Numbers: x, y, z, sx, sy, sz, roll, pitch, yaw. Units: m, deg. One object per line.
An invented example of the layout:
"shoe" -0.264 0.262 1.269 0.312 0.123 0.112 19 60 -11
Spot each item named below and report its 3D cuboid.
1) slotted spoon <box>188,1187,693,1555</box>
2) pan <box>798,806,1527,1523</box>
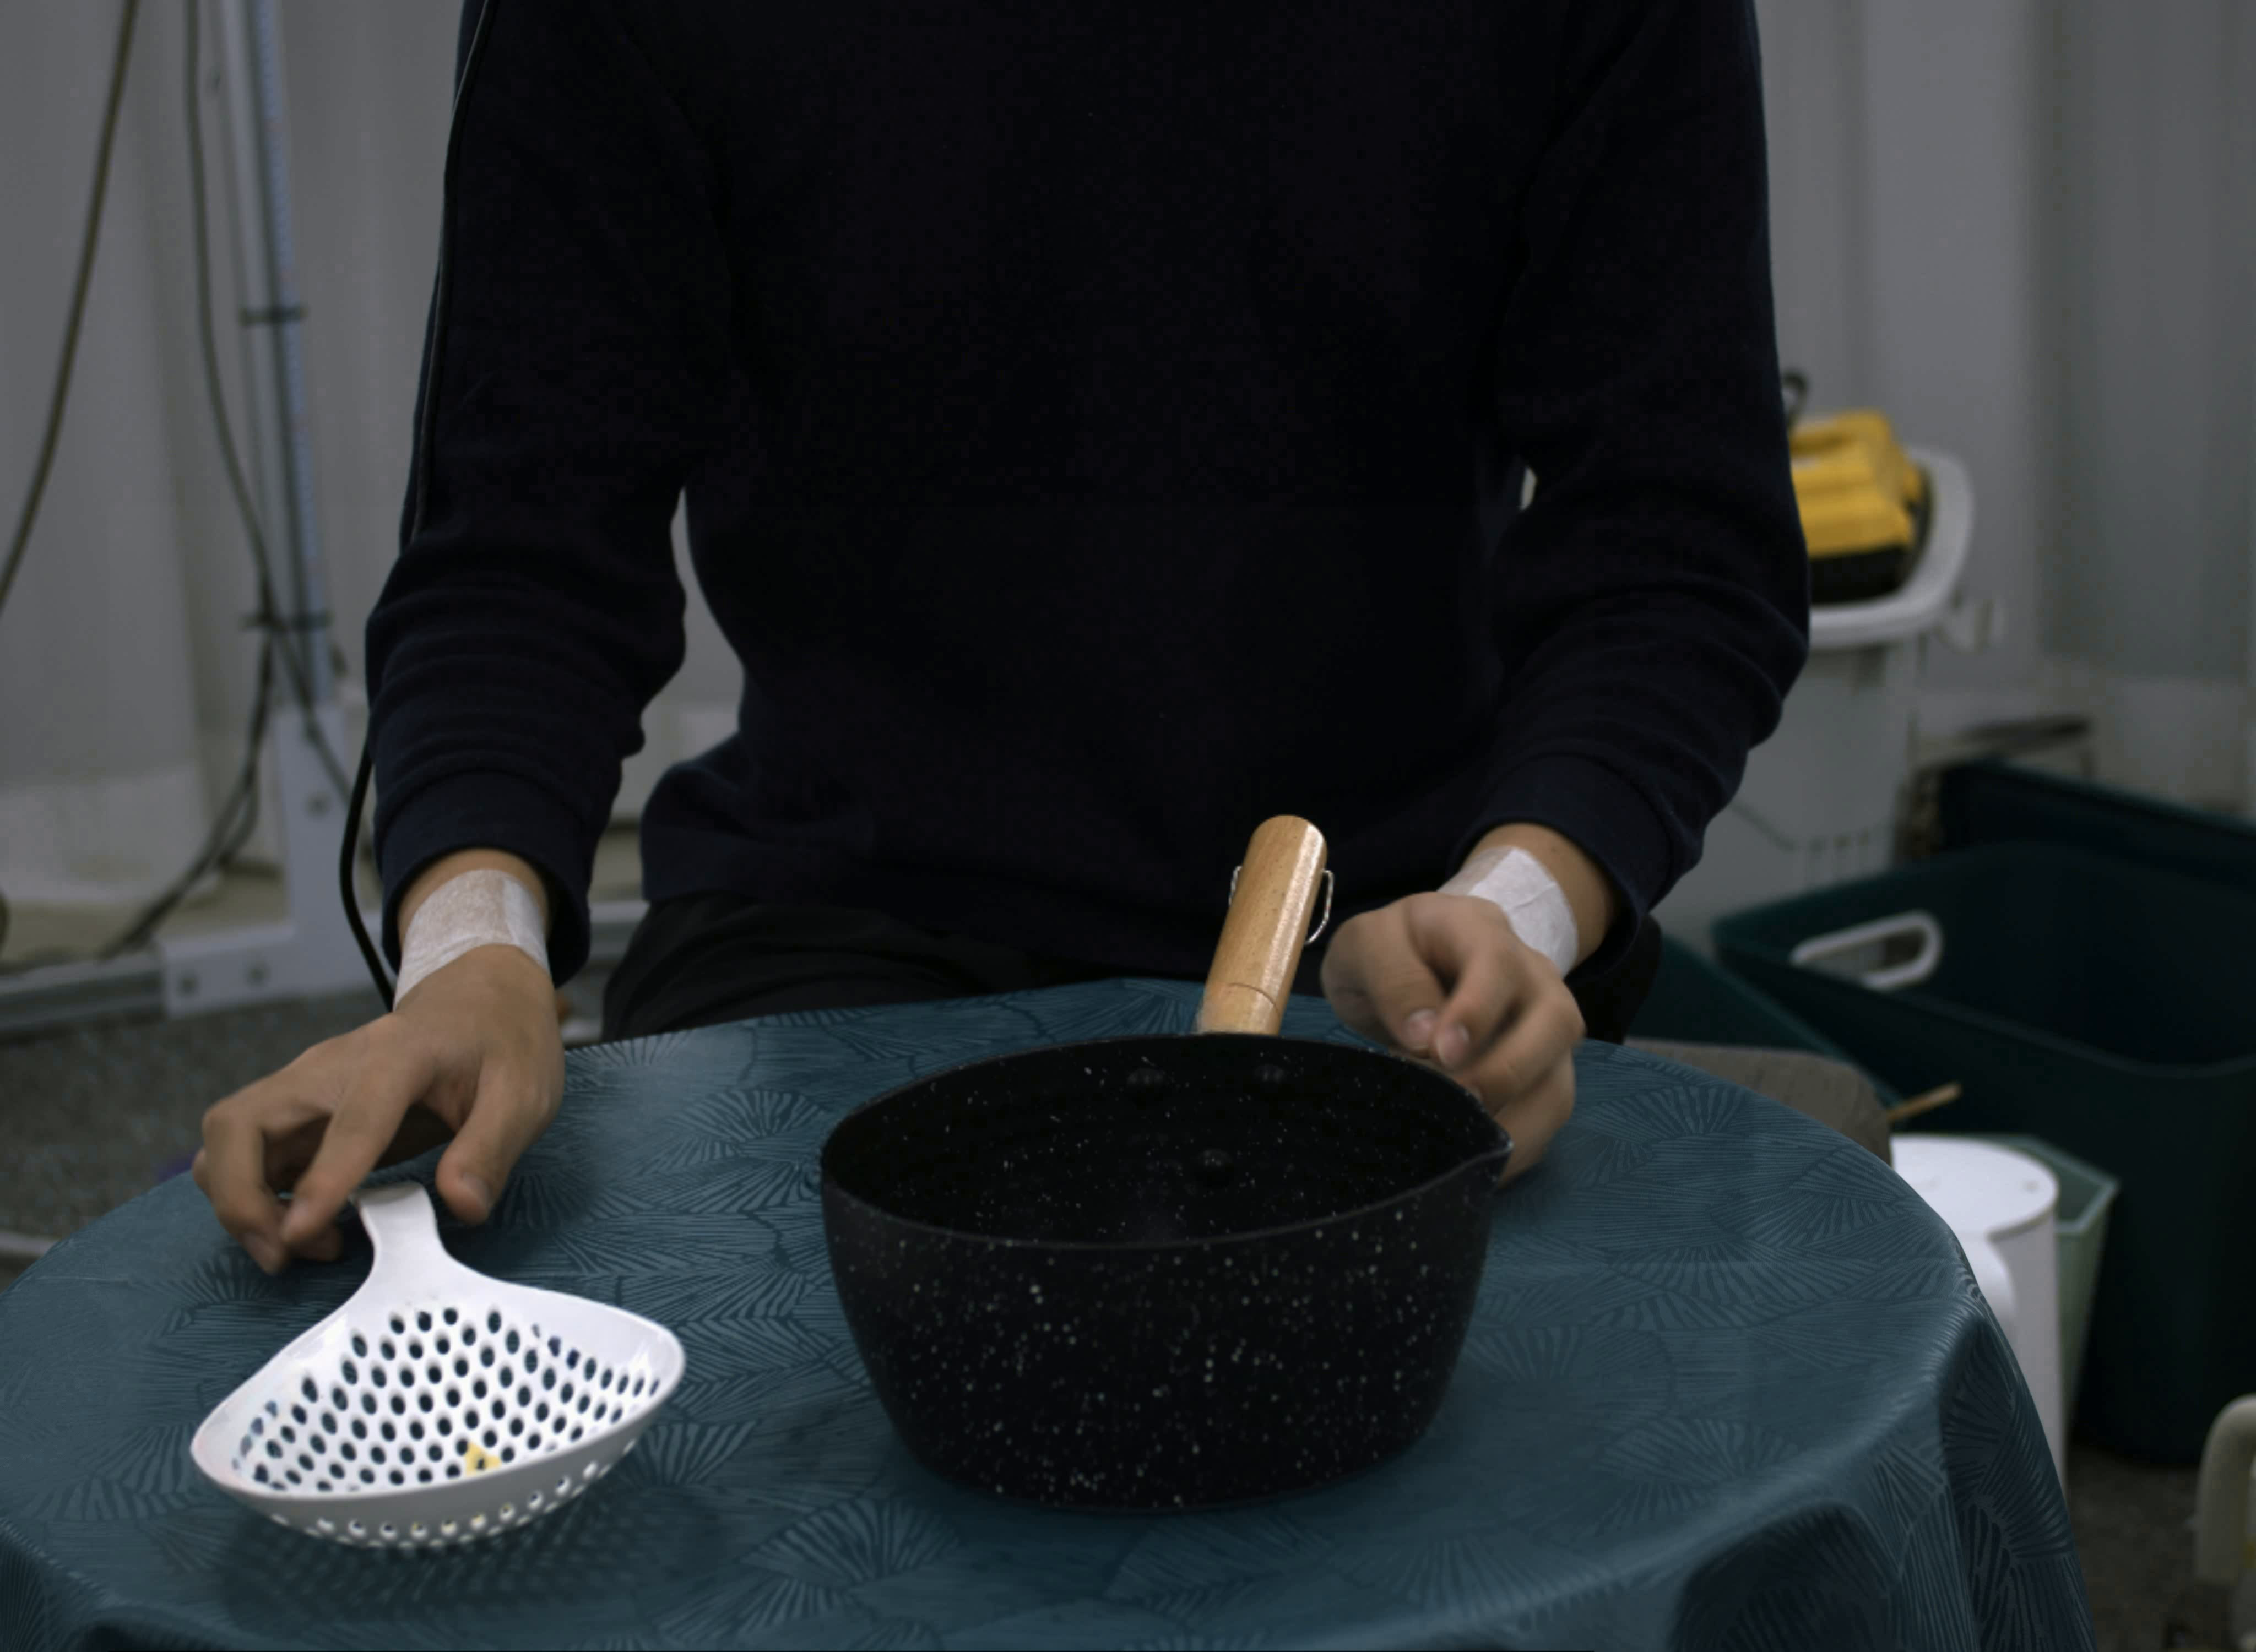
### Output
"slotted spoon" -0.206 0.142 1.573 0.136 0.050 0.351 -13 18 -10
"pan" 0.022 0.093 1.587 0.207 0.108 0.345 -1 16 10
